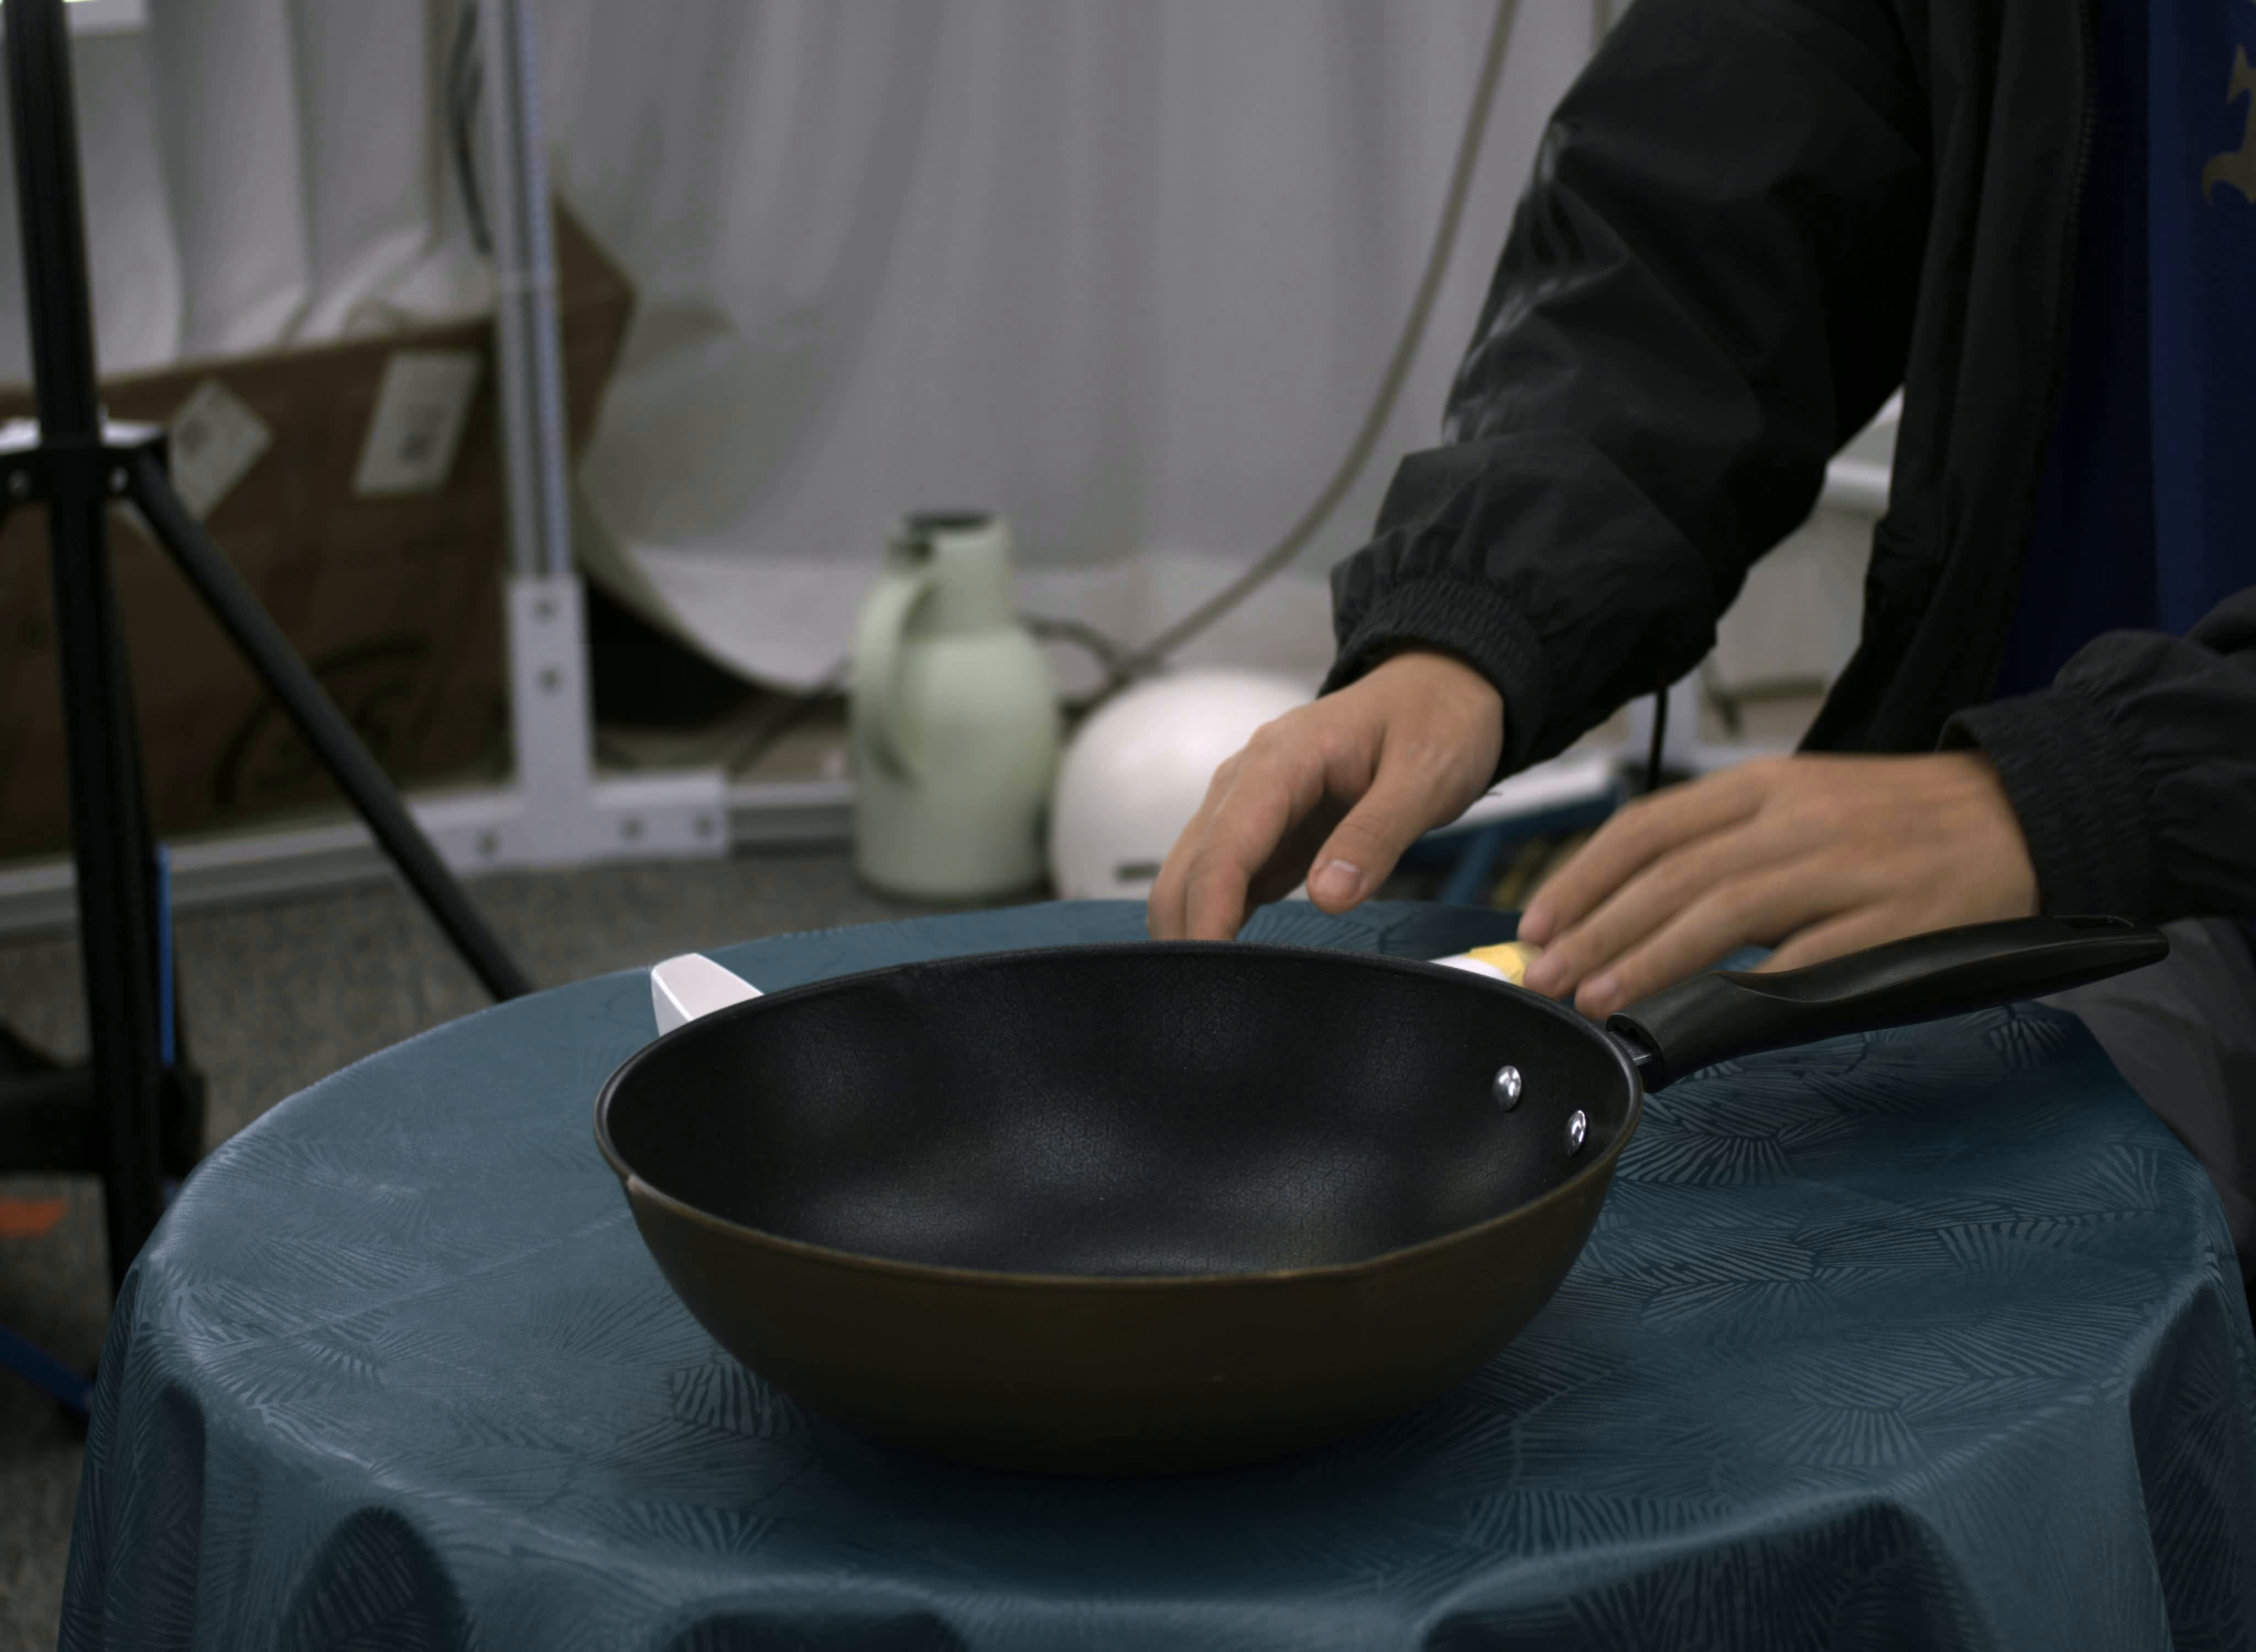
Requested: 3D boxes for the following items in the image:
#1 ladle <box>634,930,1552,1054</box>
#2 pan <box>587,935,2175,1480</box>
[{"bbox_3d":[-0.007,0.059,1.624,0.288,0.070,0.091,-3,14,-14],"label":"ladle"},{"bbox_3d":[0.080,0.096,1.440,0.454,0.087,0.293,-7,17,-21],"label":"pan"}]
